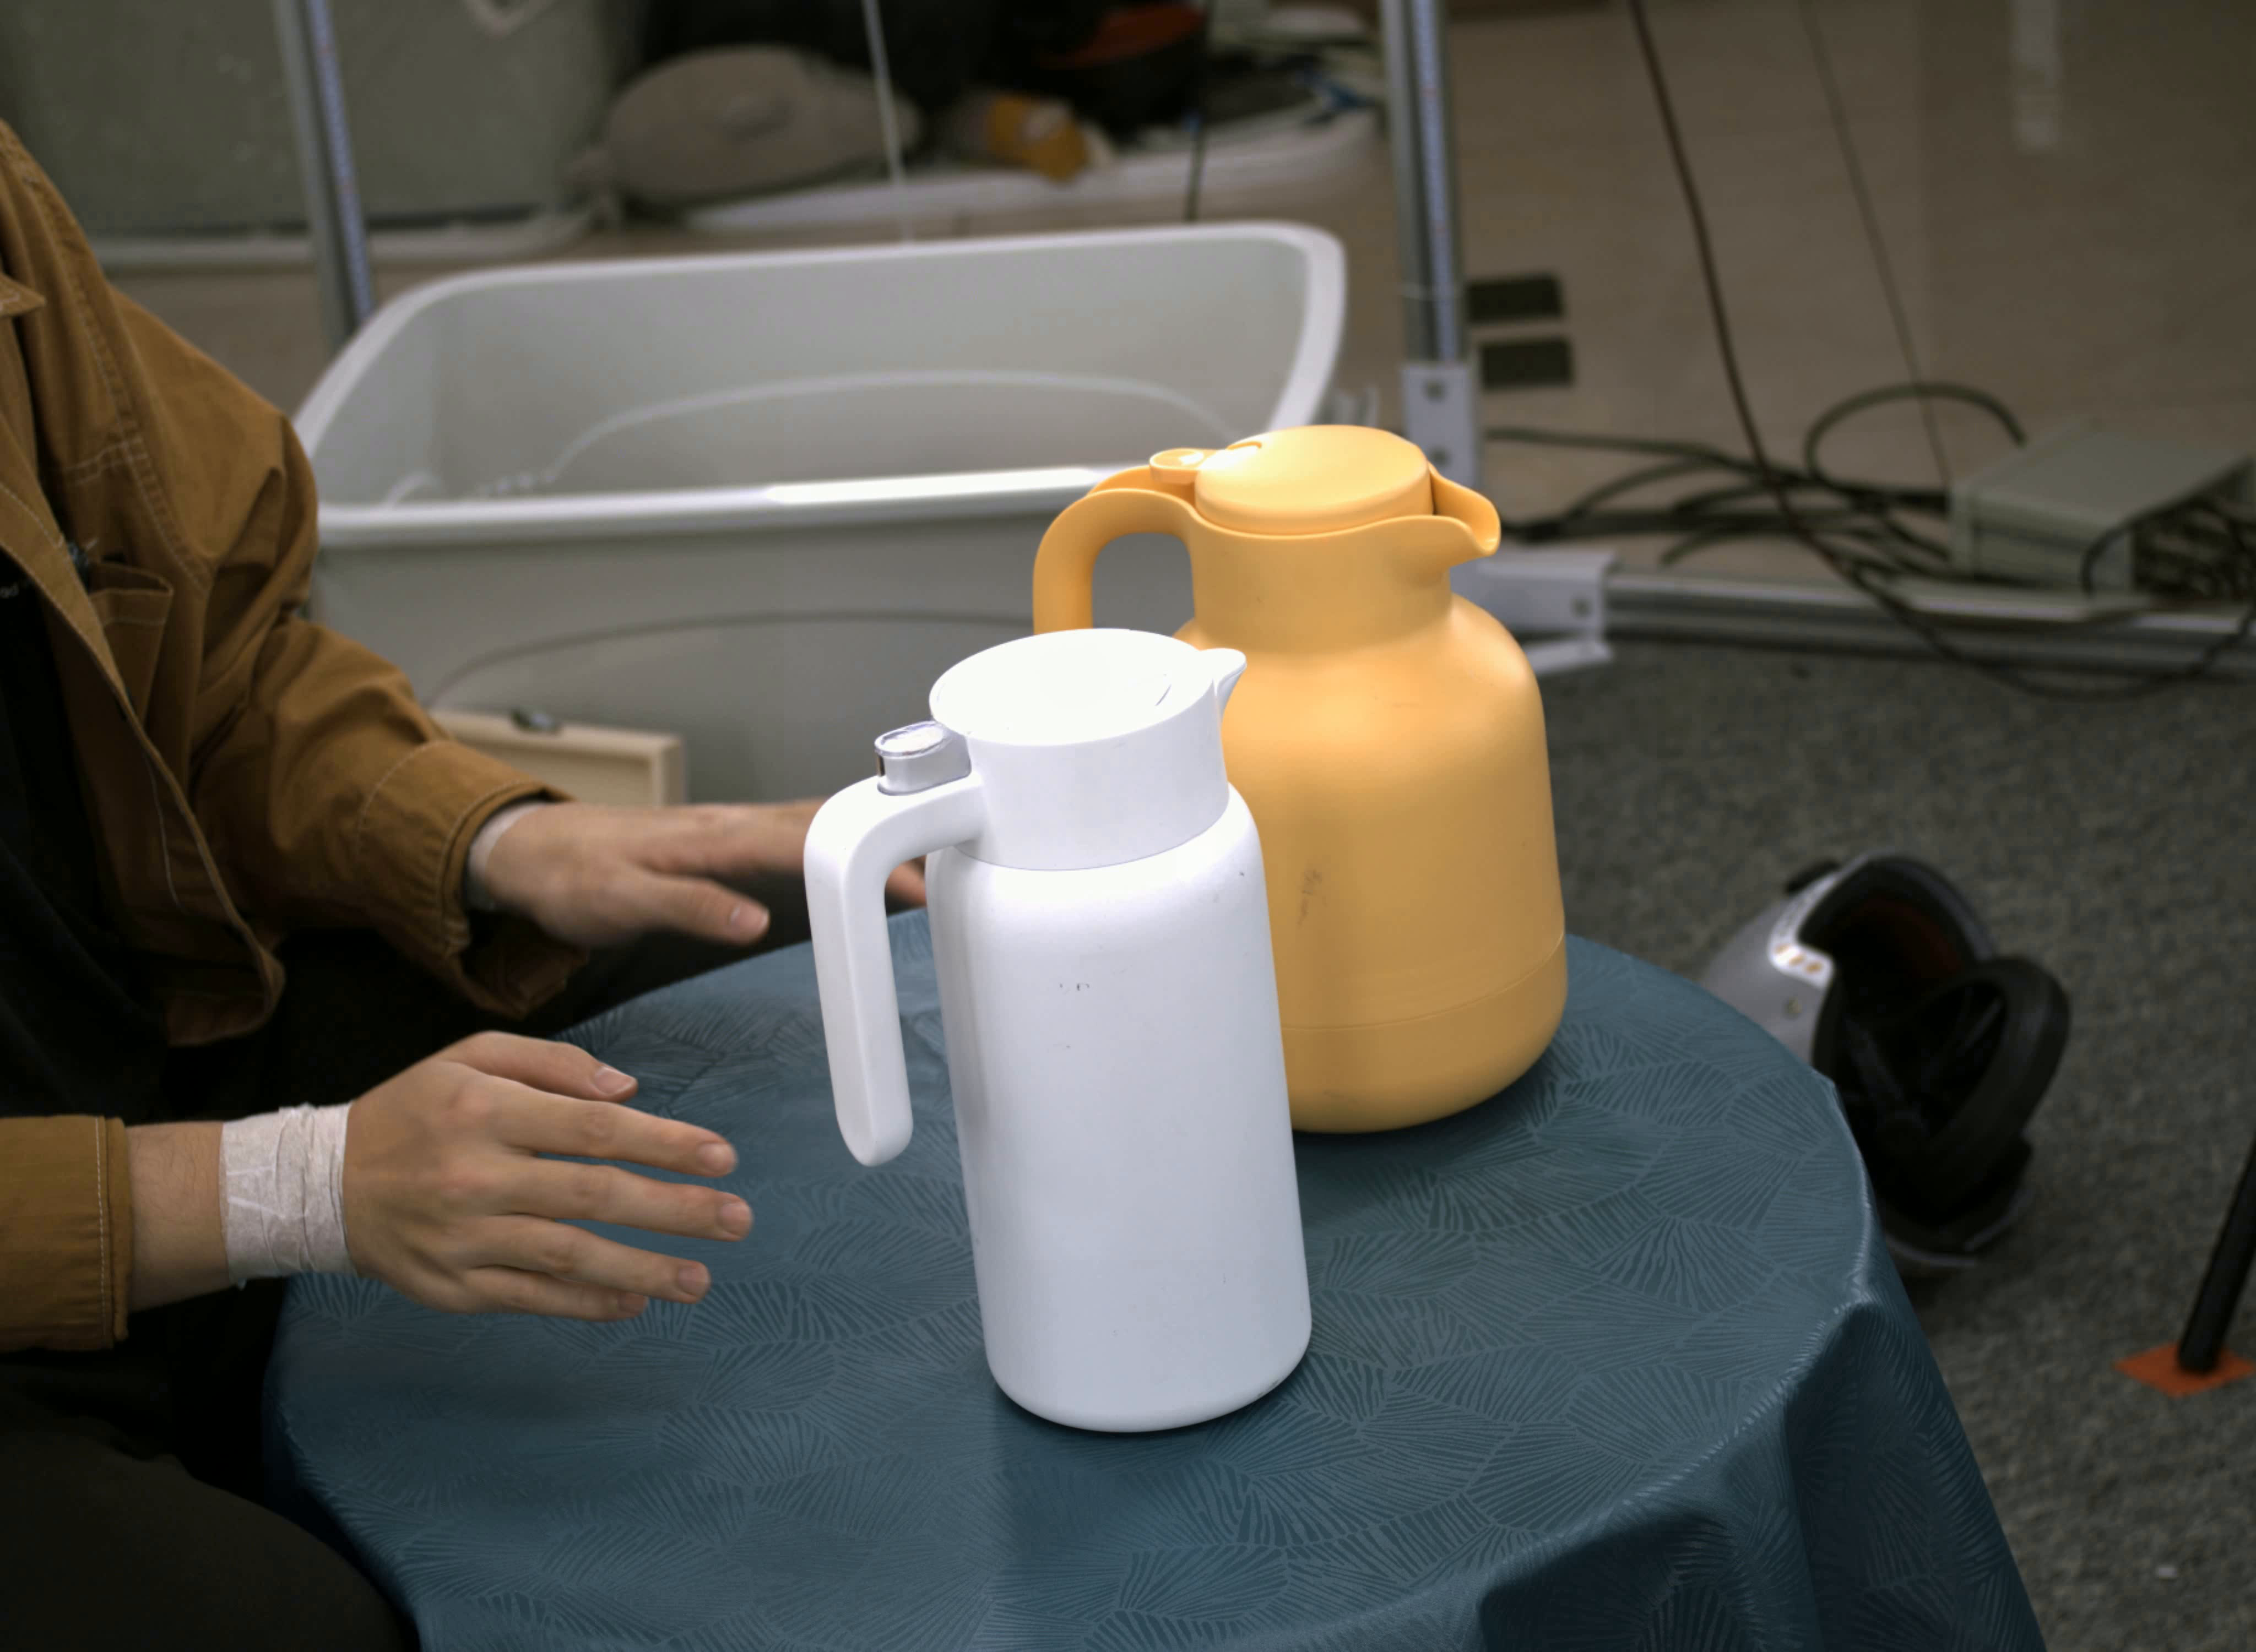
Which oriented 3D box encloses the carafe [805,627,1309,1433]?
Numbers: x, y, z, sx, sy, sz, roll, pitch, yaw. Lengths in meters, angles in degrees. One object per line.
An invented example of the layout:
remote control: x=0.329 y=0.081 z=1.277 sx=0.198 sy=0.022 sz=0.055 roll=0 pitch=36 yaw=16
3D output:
carafe: x=-0.020 y=0.077 z=1.967 sx=0.172 sy=0.273 sz=0.122 roll=-20 pitch=31 yaw=-26

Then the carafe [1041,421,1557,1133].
carafe: x=0.063 y=-0.026 z=2.172 sx=0.201 sy=0.264 sz=0.161 roll=11 pitch=28 yaw=29
